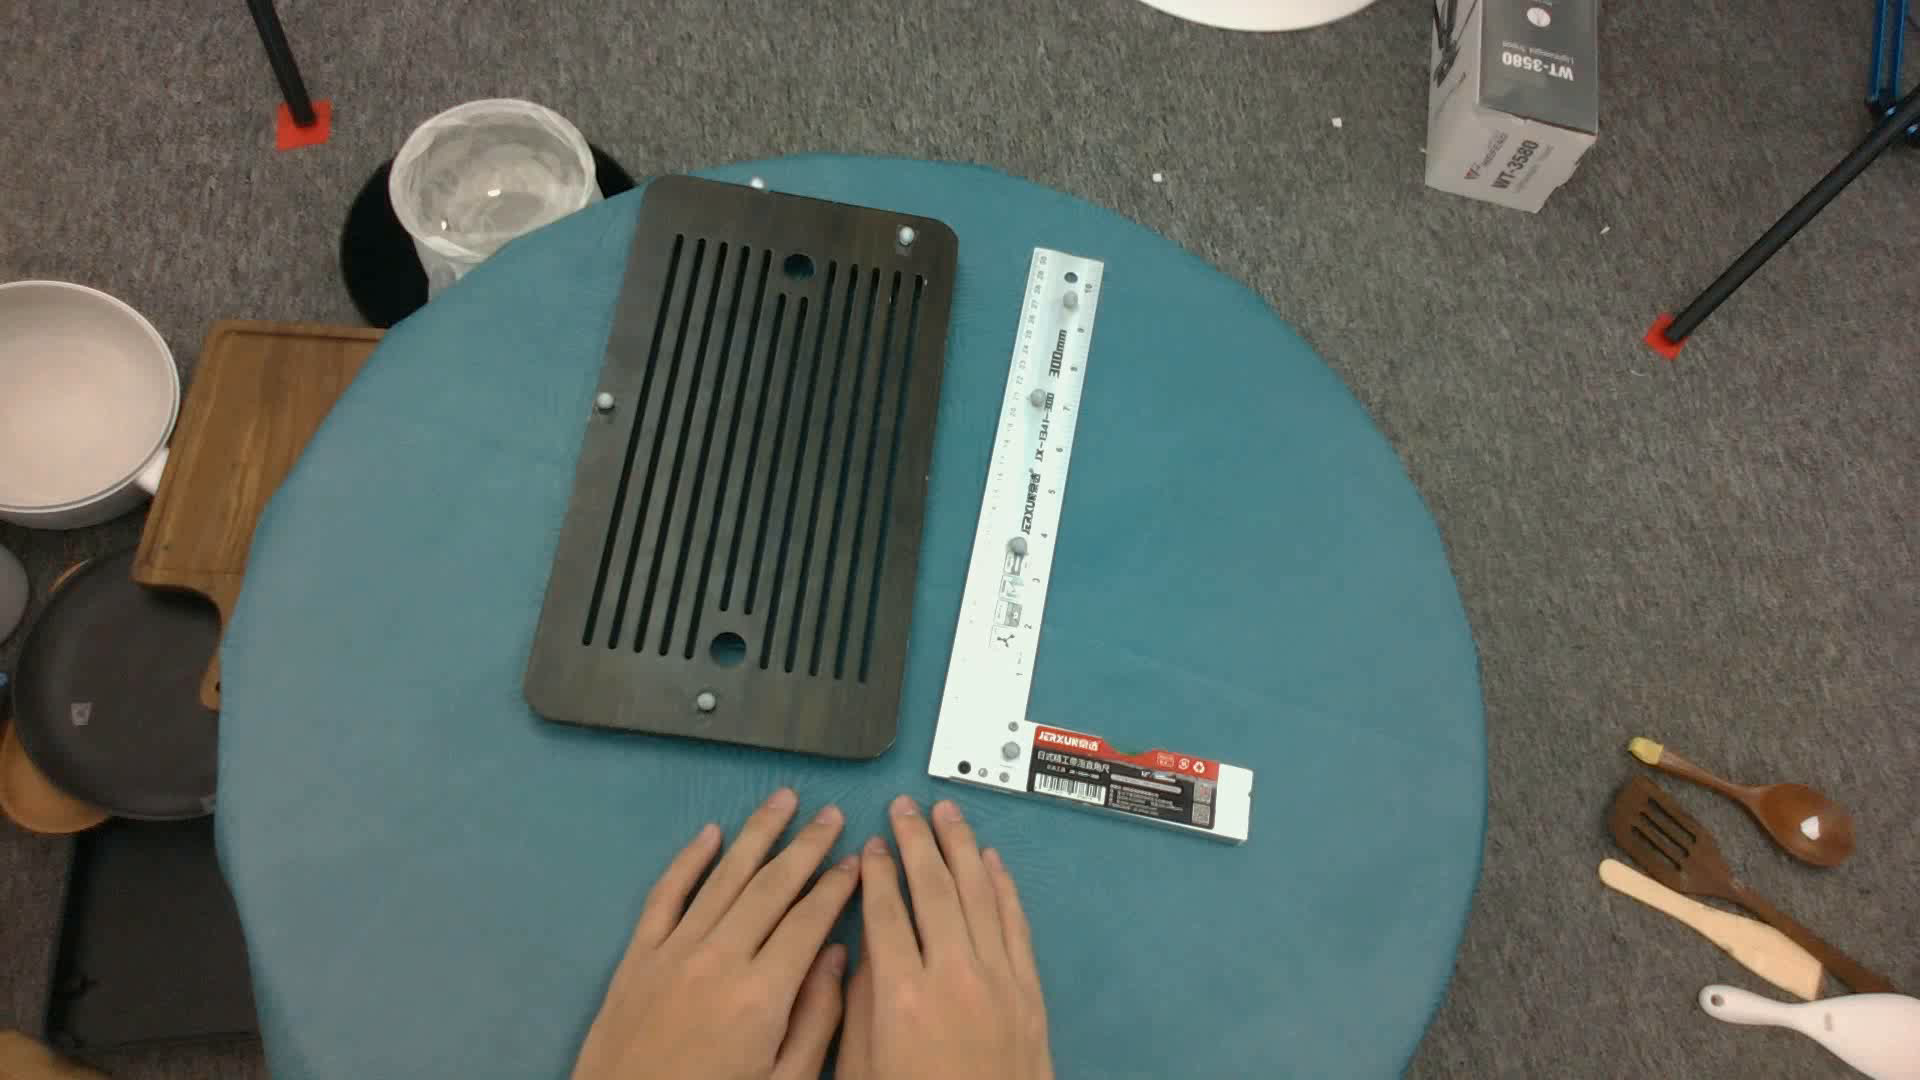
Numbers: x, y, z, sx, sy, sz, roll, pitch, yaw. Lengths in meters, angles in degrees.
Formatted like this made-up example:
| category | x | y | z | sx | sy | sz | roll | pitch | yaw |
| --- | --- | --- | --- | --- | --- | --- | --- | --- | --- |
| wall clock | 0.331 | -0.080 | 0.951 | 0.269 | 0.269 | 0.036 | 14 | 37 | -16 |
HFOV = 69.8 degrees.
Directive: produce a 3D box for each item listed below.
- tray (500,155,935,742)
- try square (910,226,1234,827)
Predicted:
| category | x | y | z | sx | sy | sz | roll | pitch | yaw |
| --- | --- | --- | --- | --- | --- | --- | --- | --- | --- |
| tray | -0.111 | -0.055 | 0.686 | 0.170 | 0.018 | 0.307 | 8 | 66 | -5 |
| try square | 0.076 | -0.020 | 0.703 | 0.152 | 0.016 | 0.314 | 12 | 65 | -3 |
